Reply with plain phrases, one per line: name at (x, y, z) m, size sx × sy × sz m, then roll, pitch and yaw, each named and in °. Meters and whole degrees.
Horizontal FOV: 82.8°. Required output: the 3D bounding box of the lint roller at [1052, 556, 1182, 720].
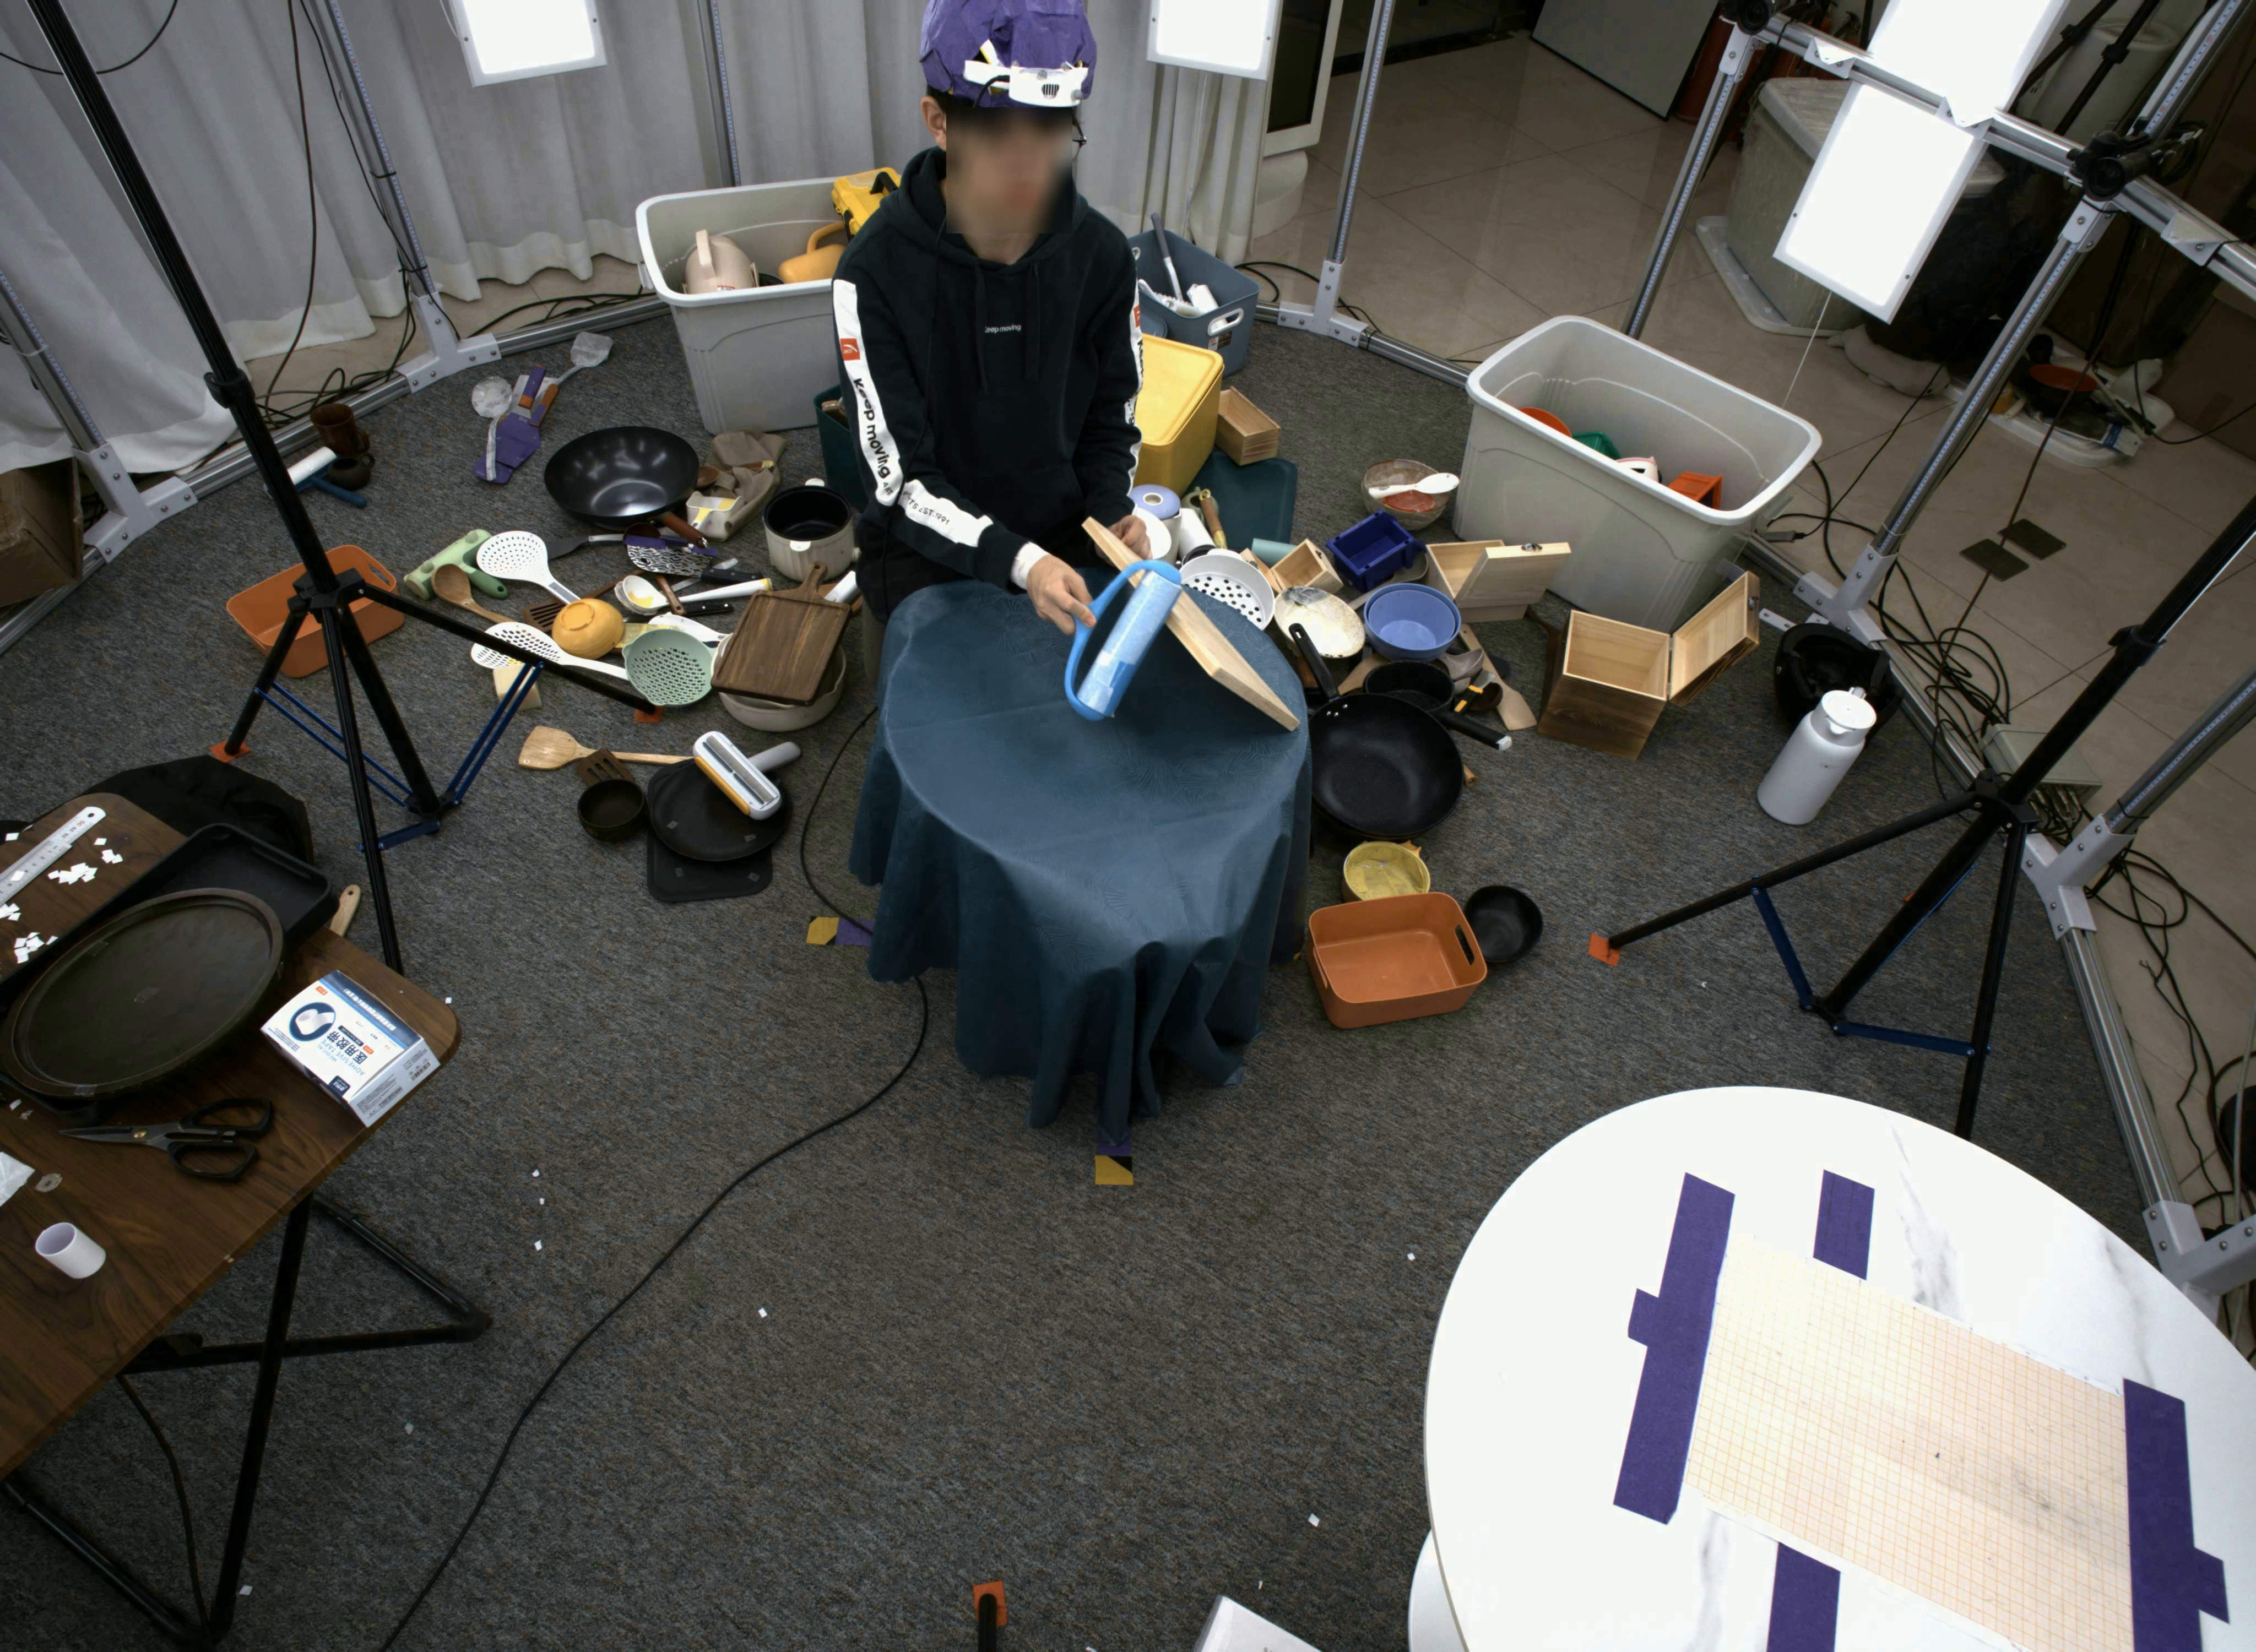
lint roller at (-0.045, -0.270, 1.695) m, size 0.183 × 0.227 × 0.067 m, roll 32°, pitch 12°, yaw 27°

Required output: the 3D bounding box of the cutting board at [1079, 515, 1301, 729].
cutting board at (0.086, -0.285, 1.799) m, size 0.023 × 0.247 × 0.356 m, roll -46°, pitch 56°, yaw 15°
